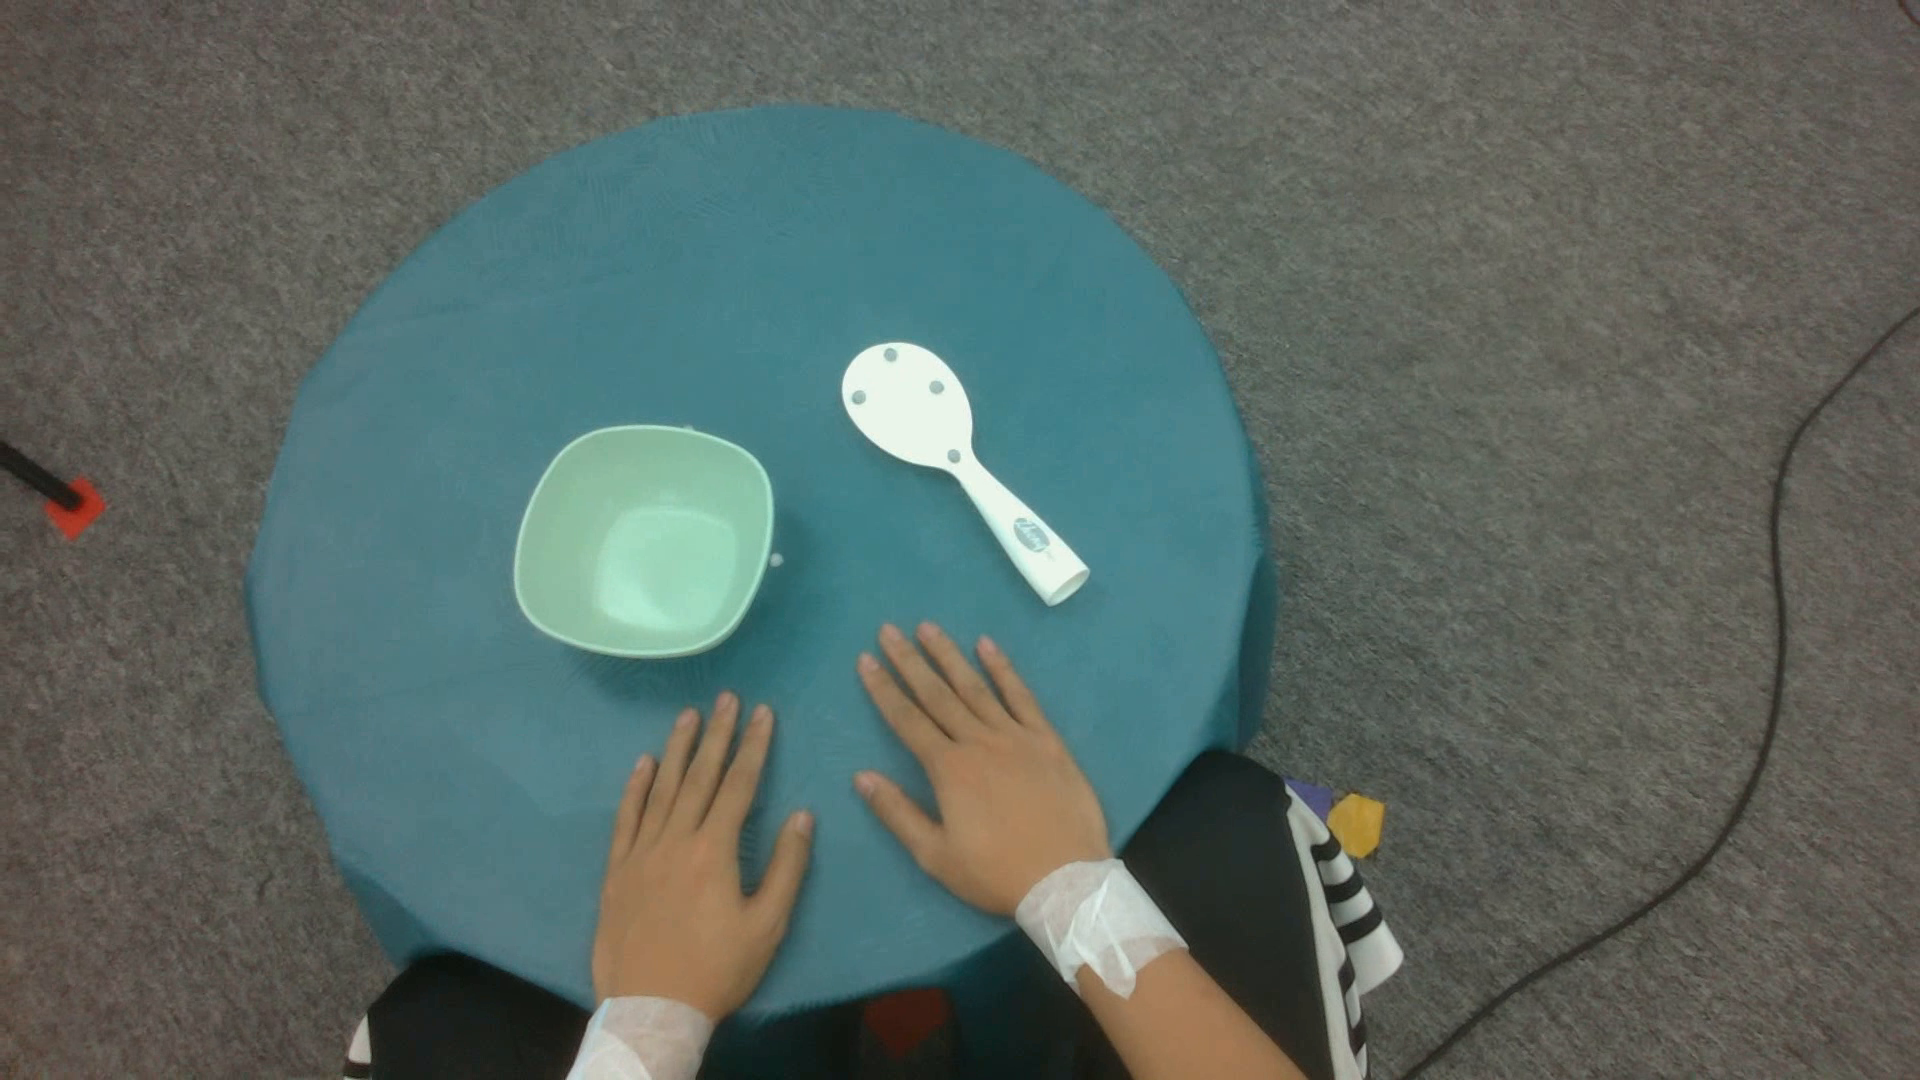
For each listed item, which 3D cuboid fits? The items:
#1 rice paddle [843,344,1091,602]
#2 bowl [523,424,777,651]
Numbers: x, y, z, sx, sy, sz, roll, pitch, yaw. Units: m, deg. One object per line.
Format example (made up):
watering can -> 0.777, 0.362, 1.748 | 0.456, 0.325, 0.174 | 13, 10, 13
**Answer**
rice paddle -> 0.002, -0.047, 0.831 | 0.069, 0.029, 0.205 | -35, 69, -14
bowl -> -0.174, 0.007, 0.799 | 0.151, 0.058, 0.152 | 0, 64, 1
